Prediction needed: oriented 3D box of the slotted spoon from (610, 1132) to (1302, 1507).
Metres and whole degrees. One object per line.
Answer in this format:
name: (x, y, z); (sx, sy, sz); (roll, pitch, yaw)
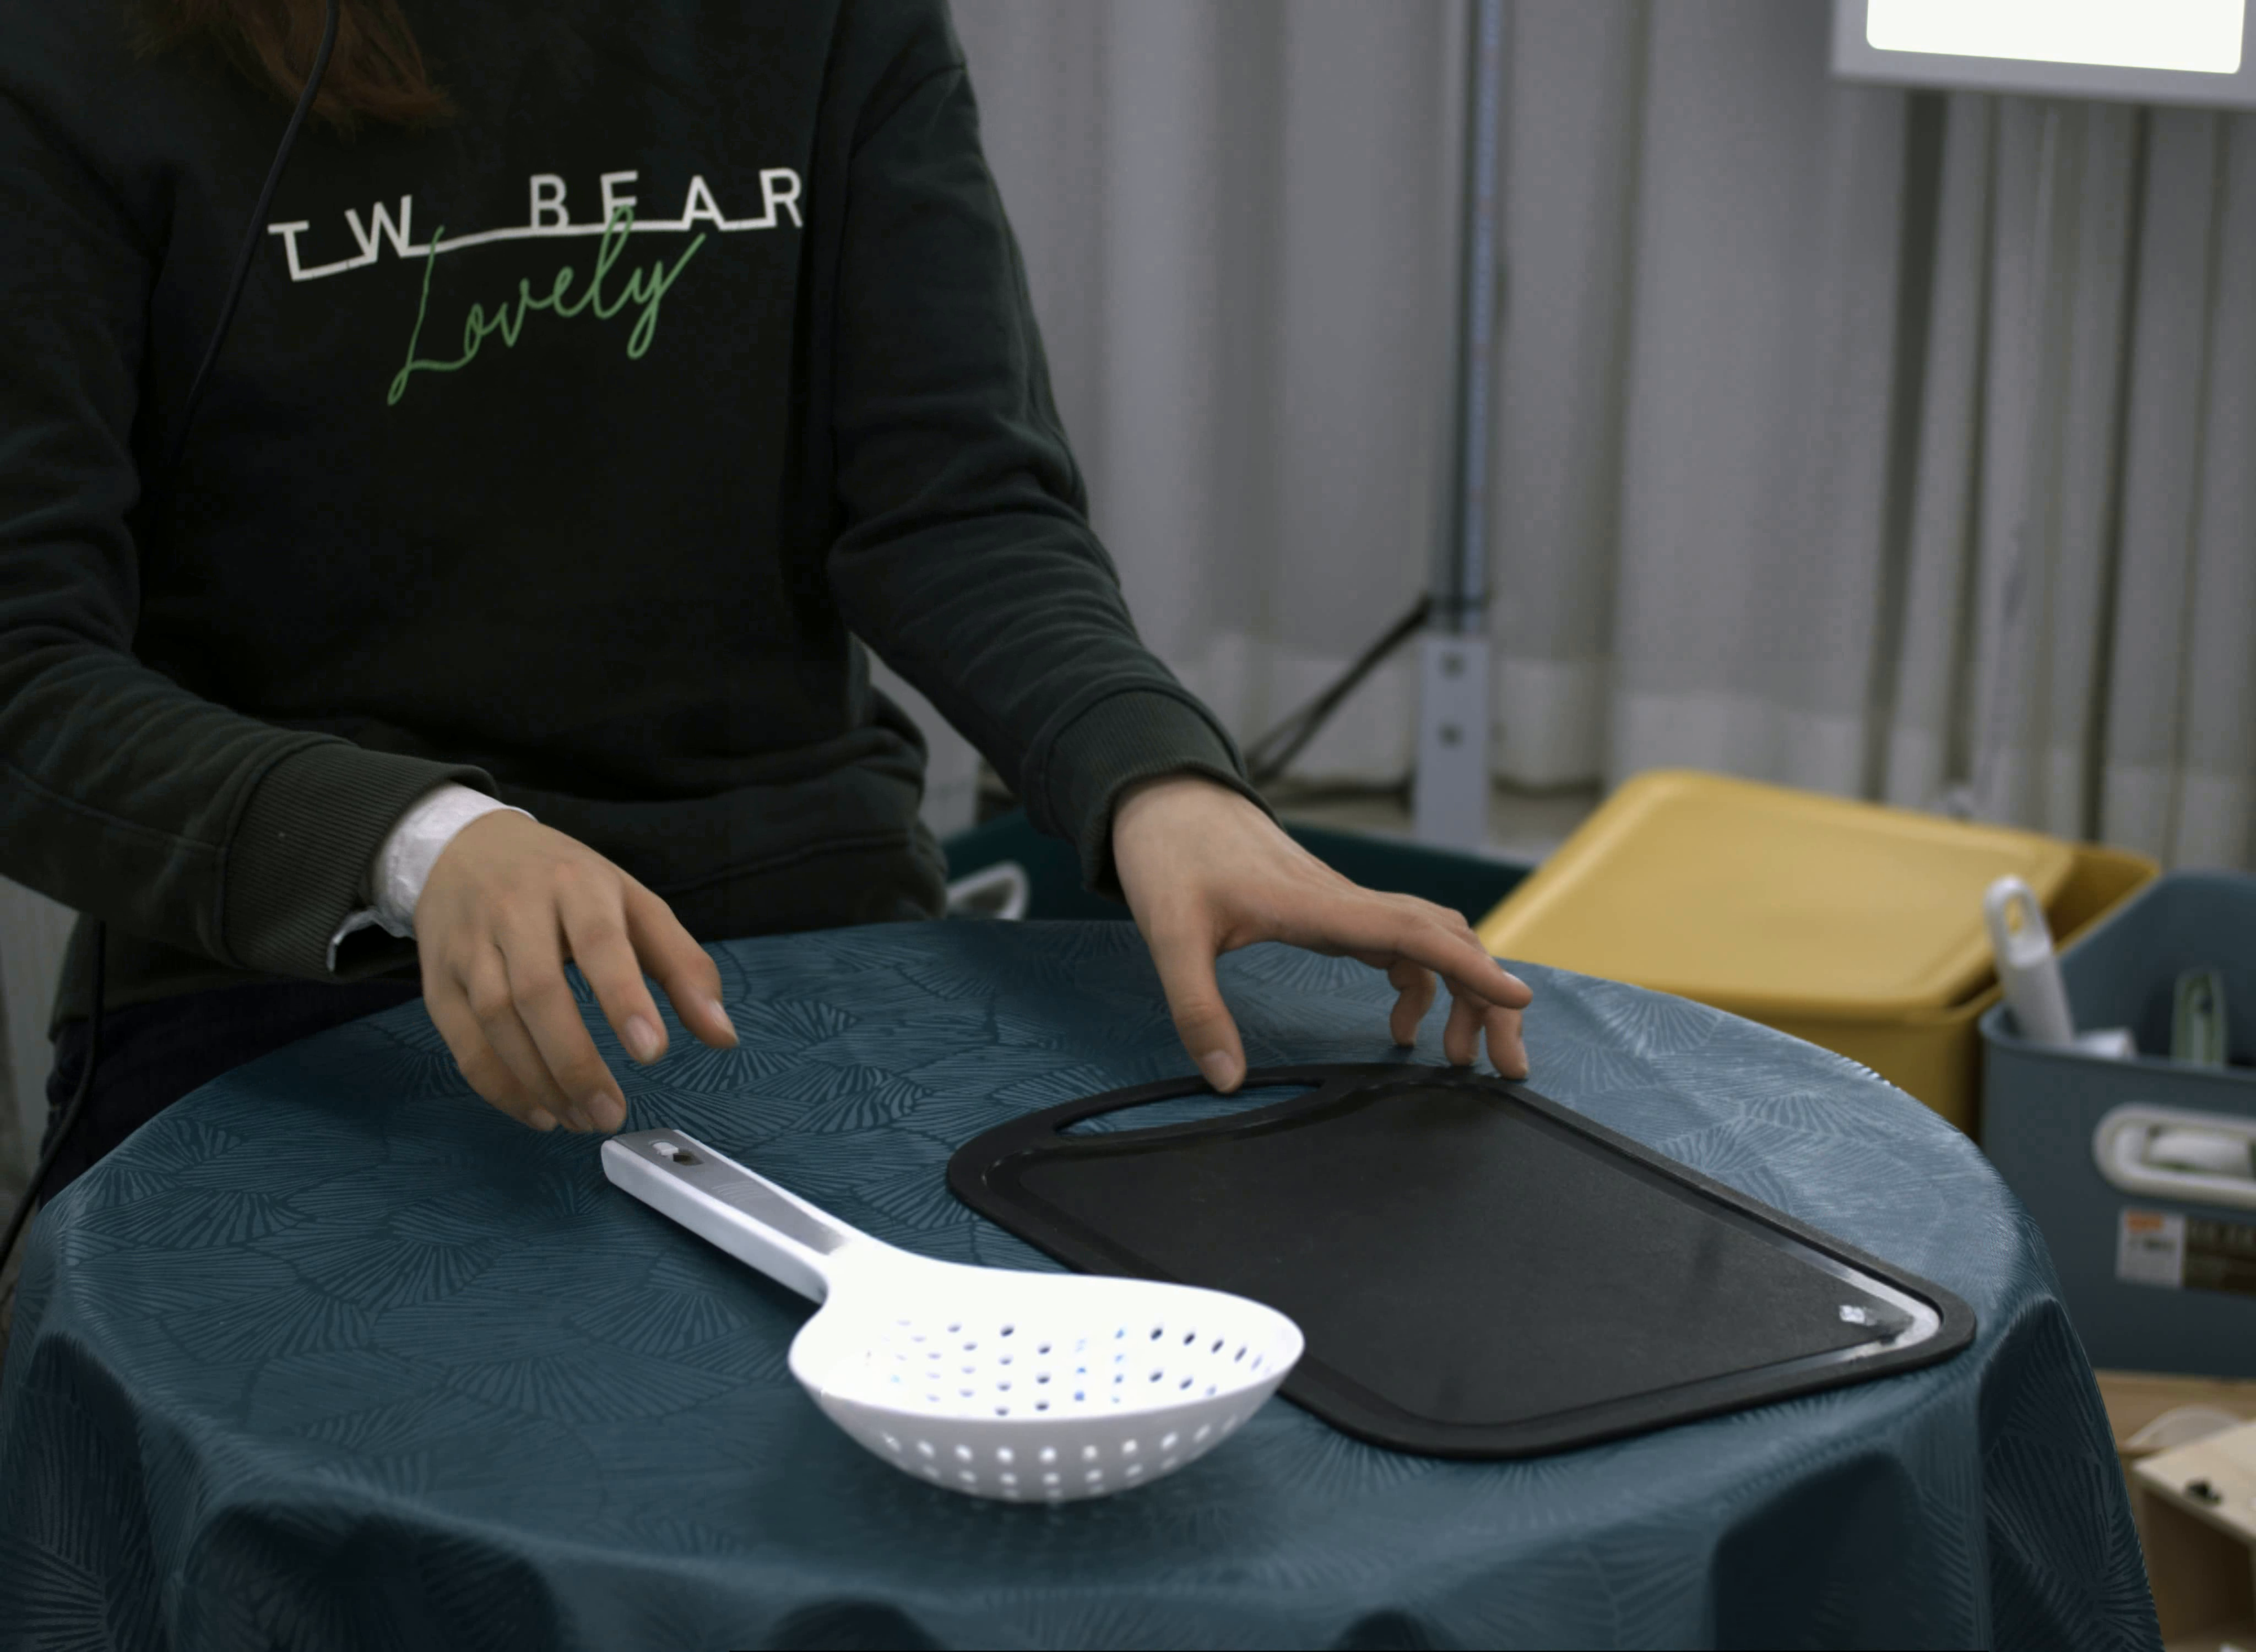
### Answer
slotted spoon: (-0.071, 0.129, 1.482); (0.136, 0.046, 0.345); (-5, 16, -27)

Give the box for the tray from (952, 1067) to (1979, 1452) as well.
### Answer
tray: (0.090, 0.122, 1.584); (0.212, 0.010, 0.321); (-8, 18, -30)
